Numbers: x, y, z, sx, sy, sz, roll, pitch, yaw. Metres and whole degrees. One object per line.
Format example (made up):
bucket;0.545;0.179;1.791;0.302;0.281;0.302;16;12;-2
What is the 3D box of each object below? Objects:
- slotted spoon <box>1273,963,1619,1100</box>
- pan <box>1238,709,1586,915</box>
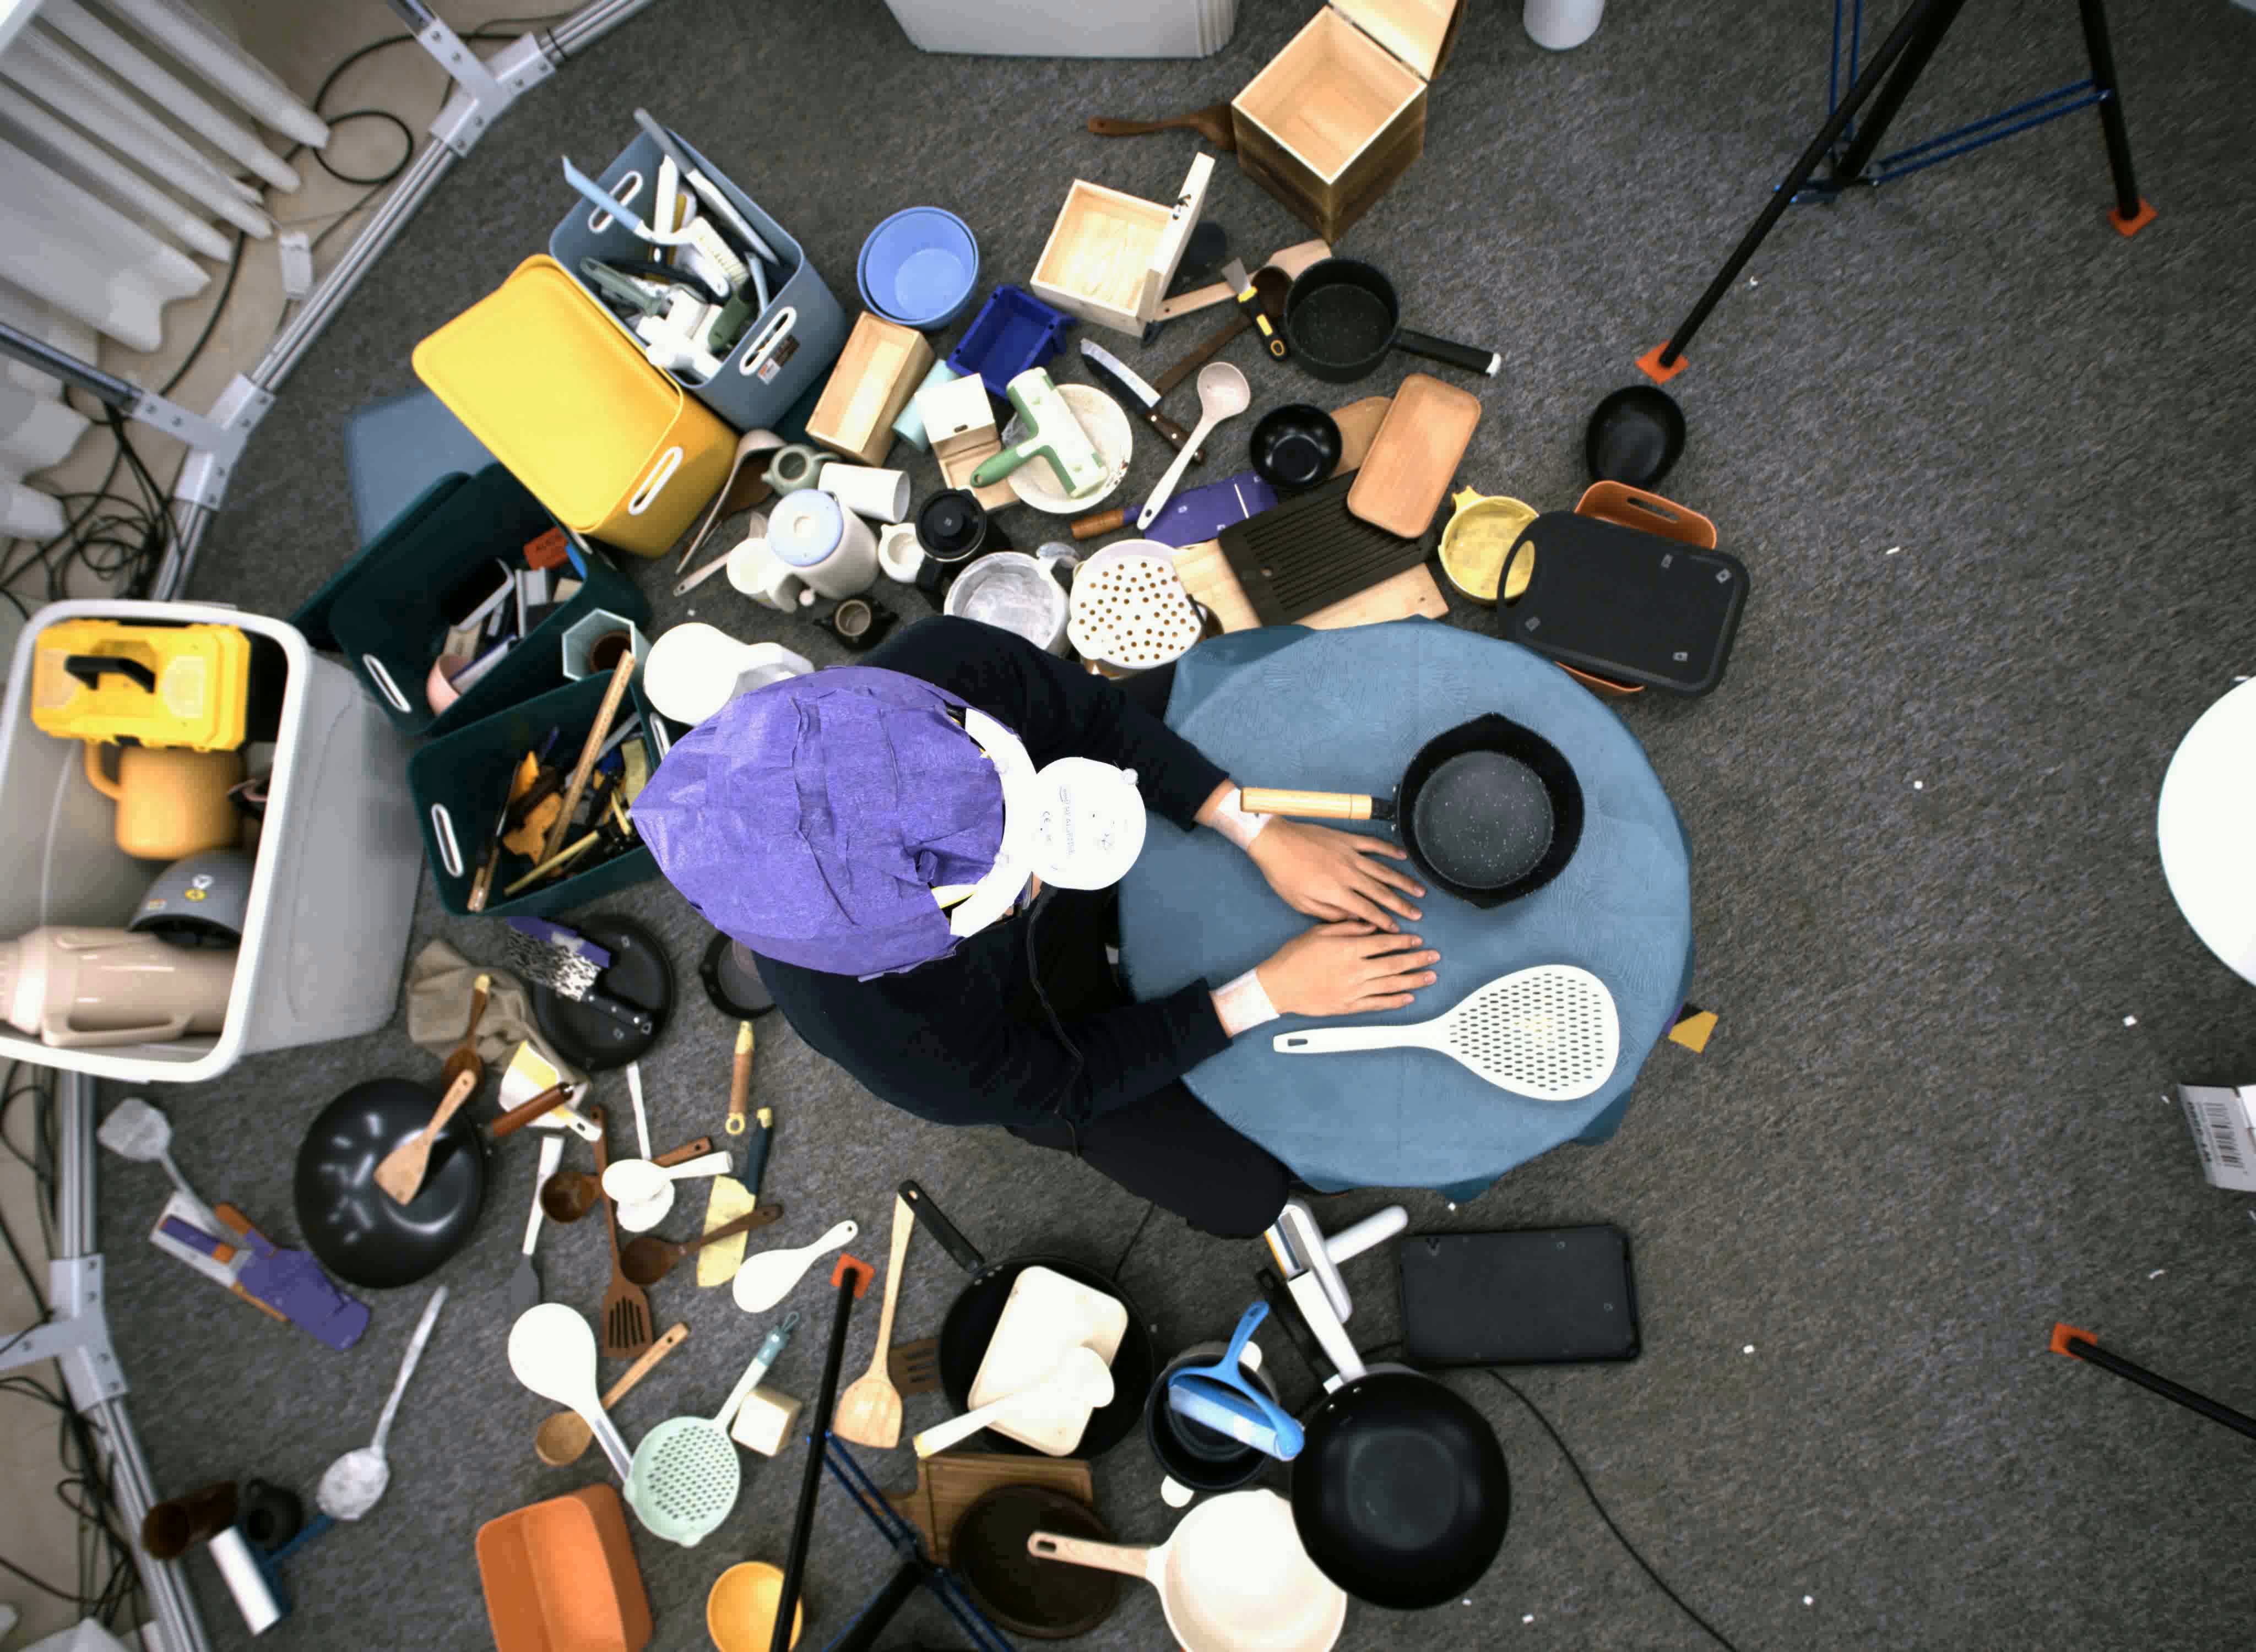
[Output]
slotted spoon;0.322;0.215;1.420;0.349;0.050;0.136;-5;87;9
pan;0.286;-0.015;1.407;0.344;0.108;0.207;1;87;9
